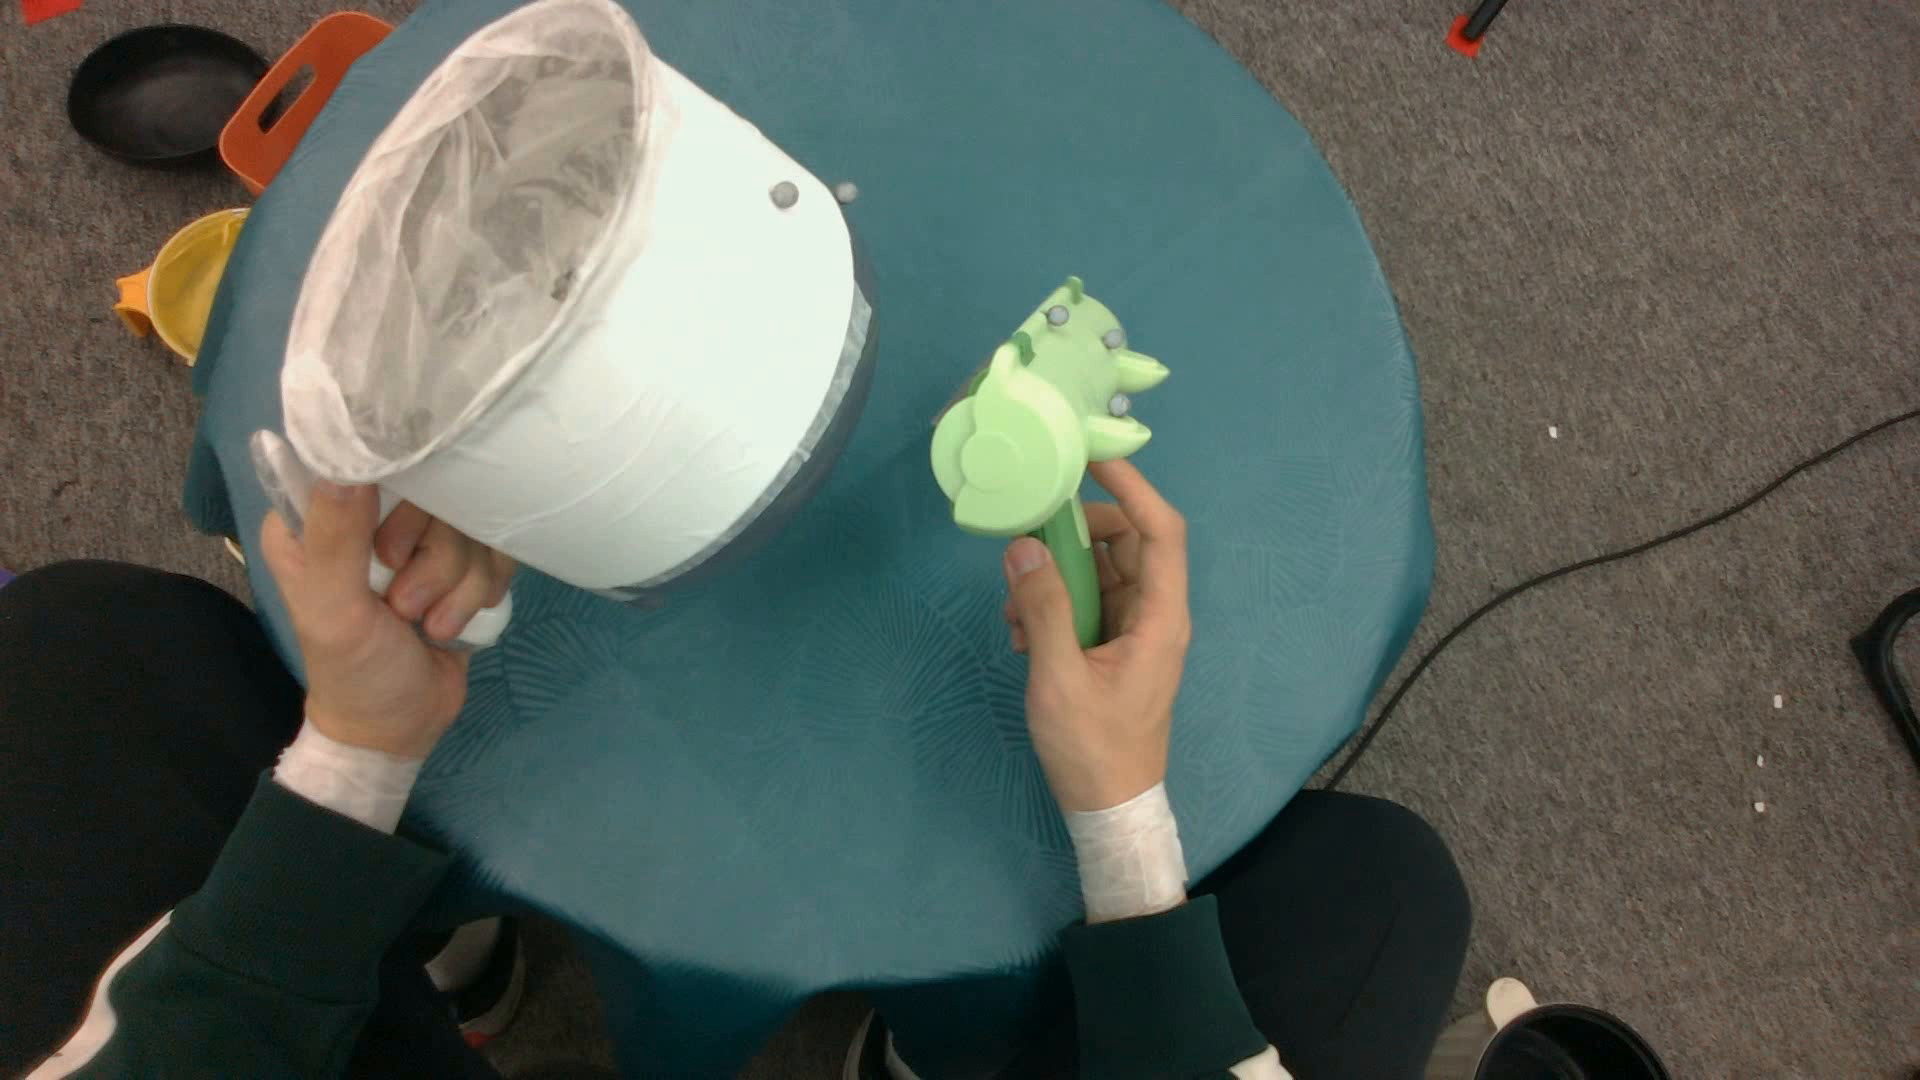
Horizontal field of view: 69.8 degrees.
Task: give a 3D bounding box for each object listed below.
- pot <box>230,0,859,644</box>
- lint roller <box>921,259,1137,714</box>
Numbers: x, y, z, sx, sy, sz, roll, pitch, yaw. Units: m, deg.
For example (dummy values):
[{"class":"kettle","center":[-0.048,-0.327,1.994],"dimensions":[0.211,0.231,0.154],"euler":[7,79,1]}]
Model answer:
[{"class":"pot","center":[-0.154,-0.060,0.495],"dimensions":[0.233,0.136,0.179],"euler":[-46,49,11]},{"class":"lint roller","center":[0.046,-0.016,0.572],"dimensions":[0.082,0.199,0.183],"euler":[-15,106,12]}]
